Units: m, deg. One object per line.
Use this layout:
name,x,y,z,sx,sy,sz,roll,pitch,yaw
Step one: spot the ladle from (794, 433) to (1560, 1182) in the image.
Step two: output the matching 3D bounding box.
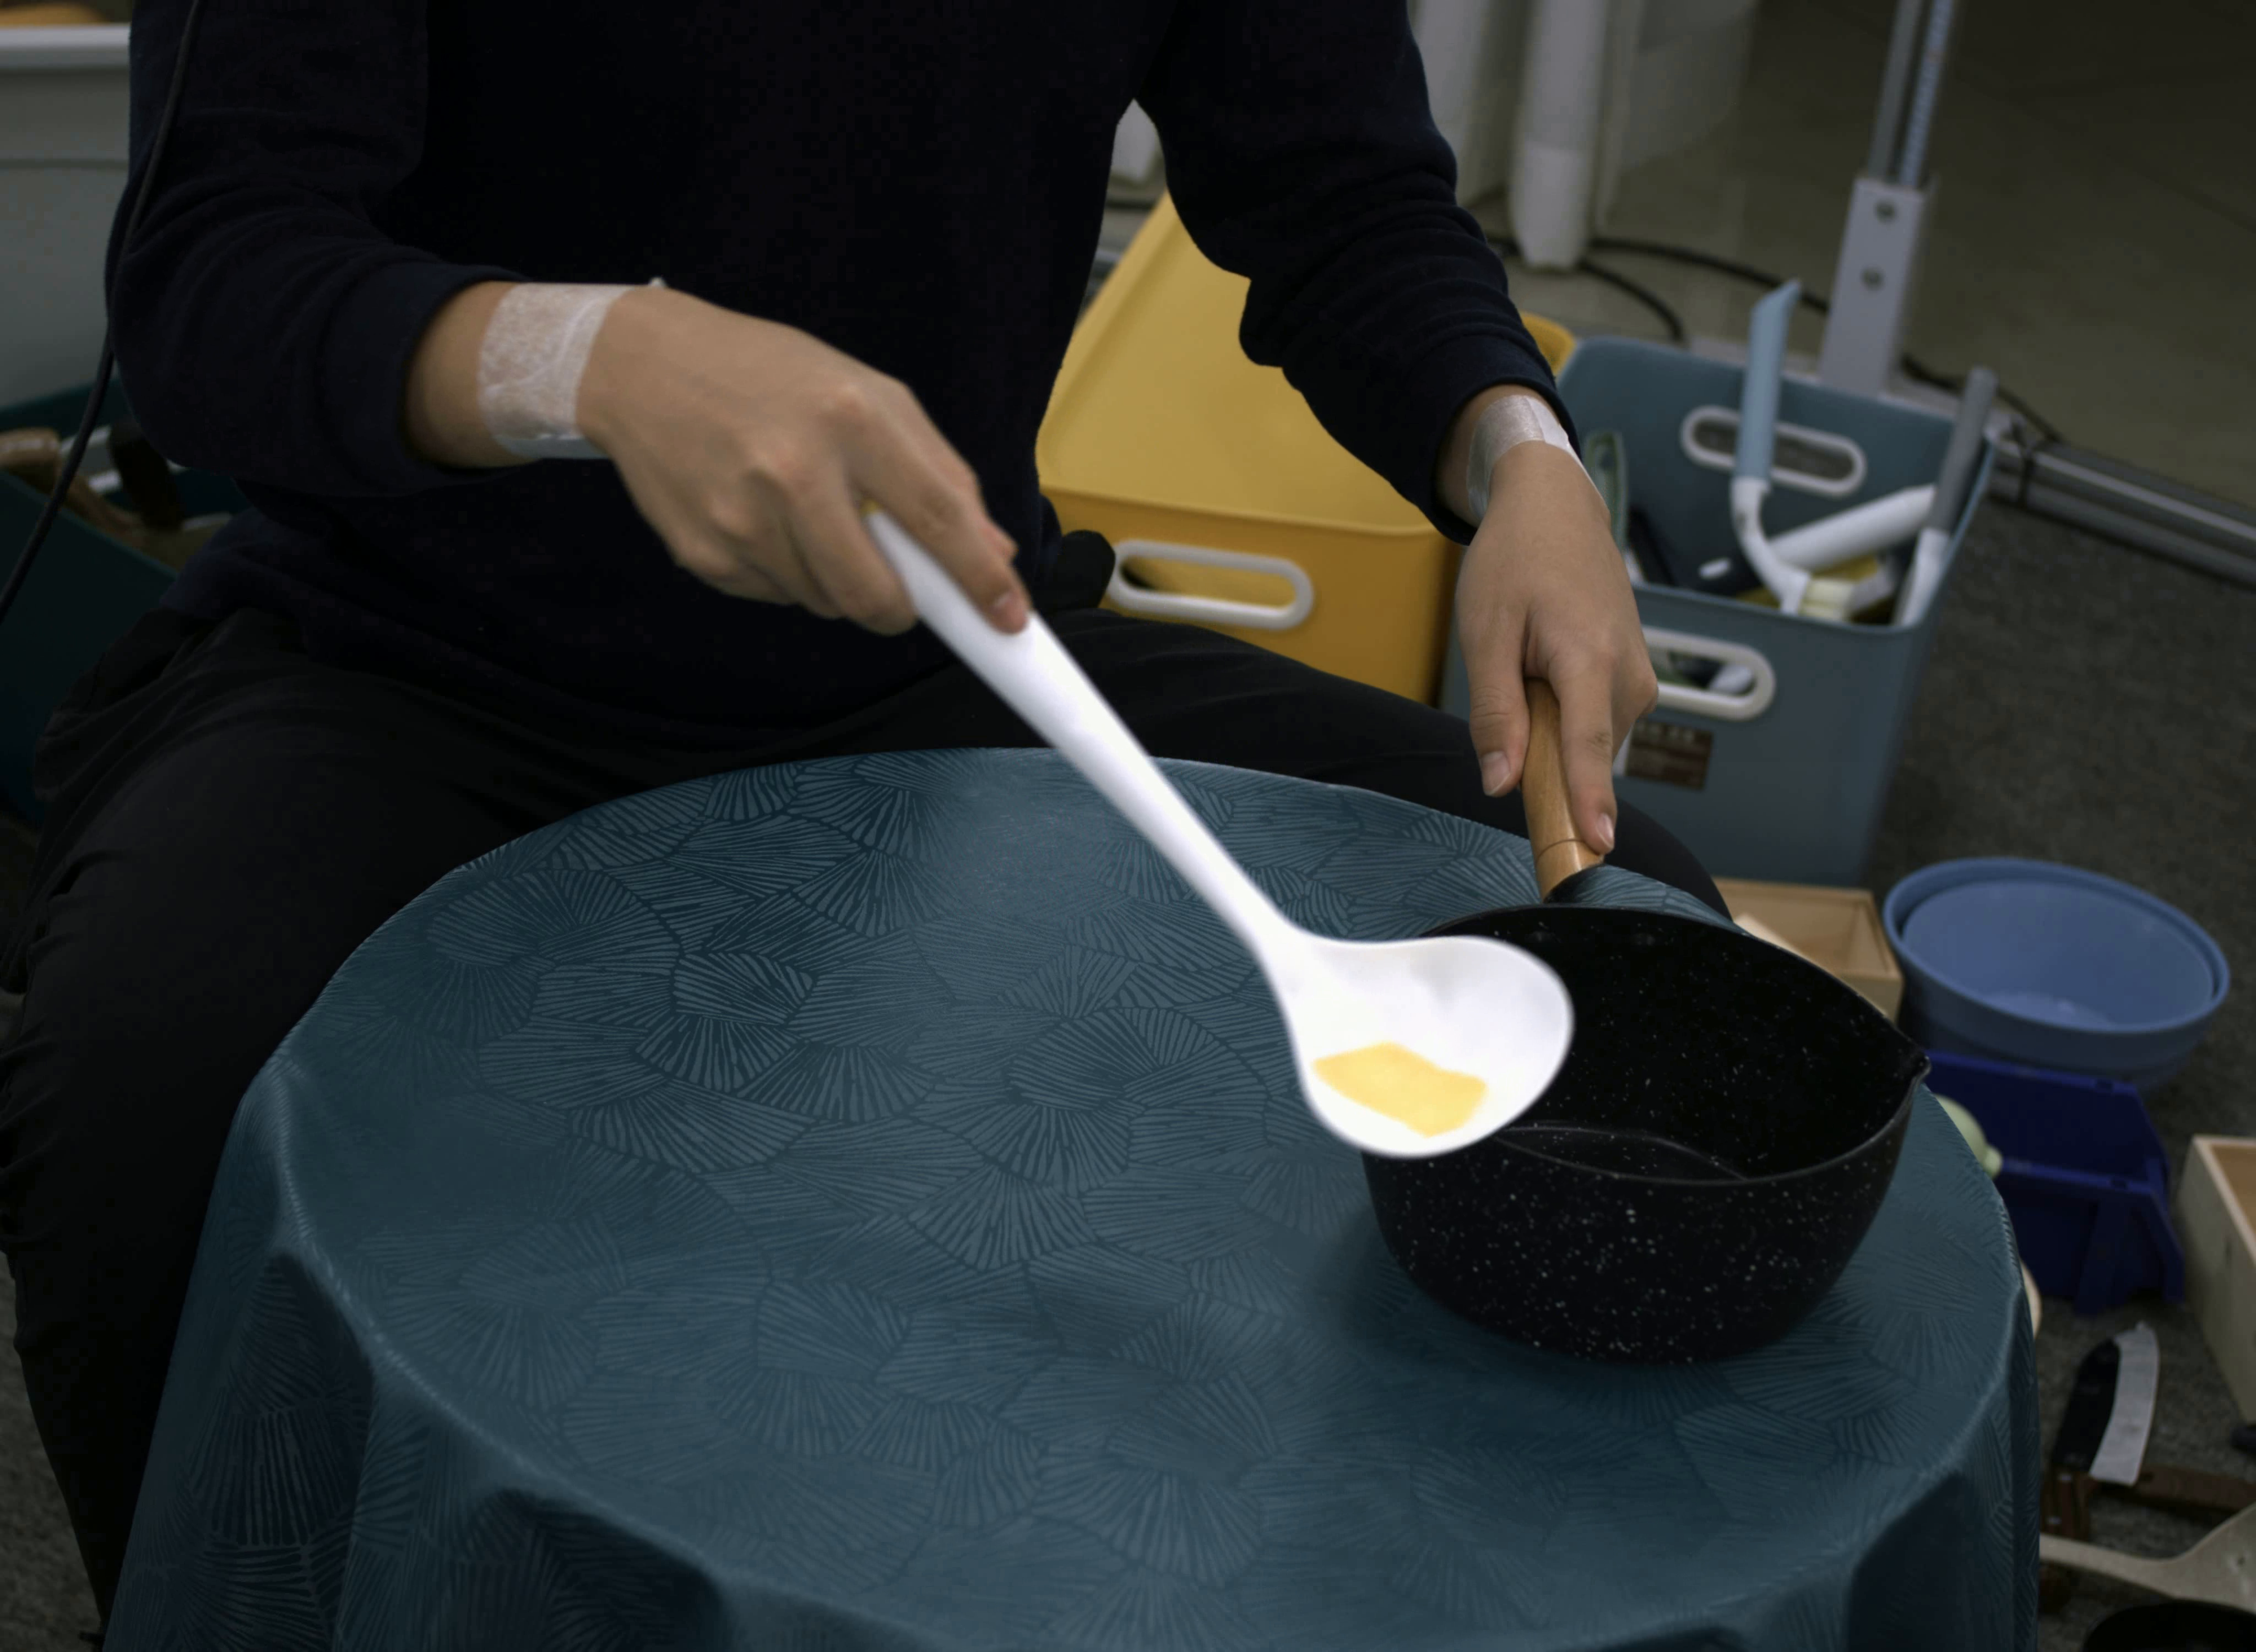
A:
ladle,0.010,-0.010,1.642,0.090,0.070,0.293,-43,92,-19

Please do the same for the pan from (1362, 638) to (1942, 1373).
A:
pan,0.158,0.058,1.845,0.206,0.108,0.345,2,29,-7
